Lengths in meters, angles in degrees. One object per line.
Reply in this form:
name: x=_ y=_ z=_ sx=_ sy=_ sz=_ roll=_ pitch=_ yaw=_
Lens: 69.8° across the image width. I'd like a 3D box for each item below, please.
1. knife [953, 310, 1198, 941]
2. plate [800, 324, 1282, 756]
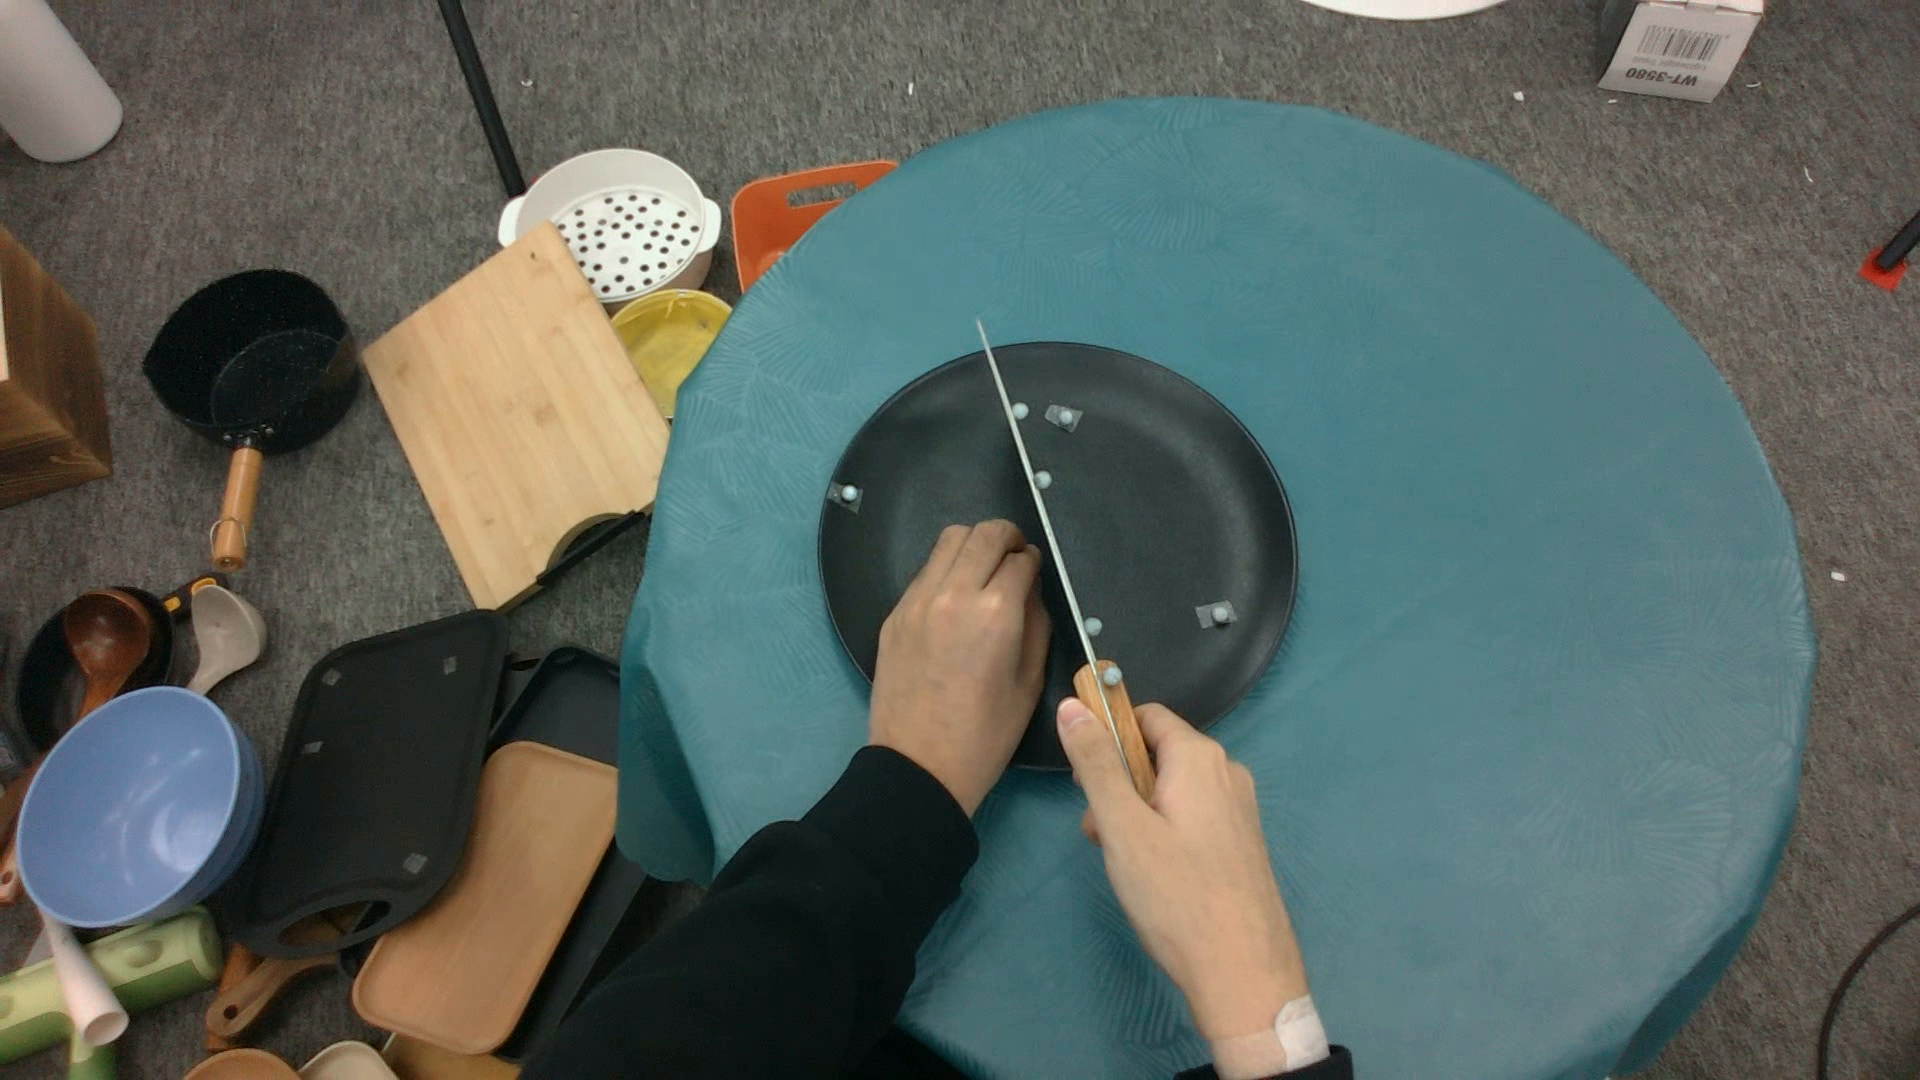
knife: x=0.047 y=0.034 z=0.626 sx=0.021 sy=0.092 sz=0.306 roll=-20 pitch=65 yaw=3
plate: x=0.041 y=-0.005 z=0.702 sx=0.244 sy=0.023 sz=0.245 roll=0 pitch=63 yaw=-1
